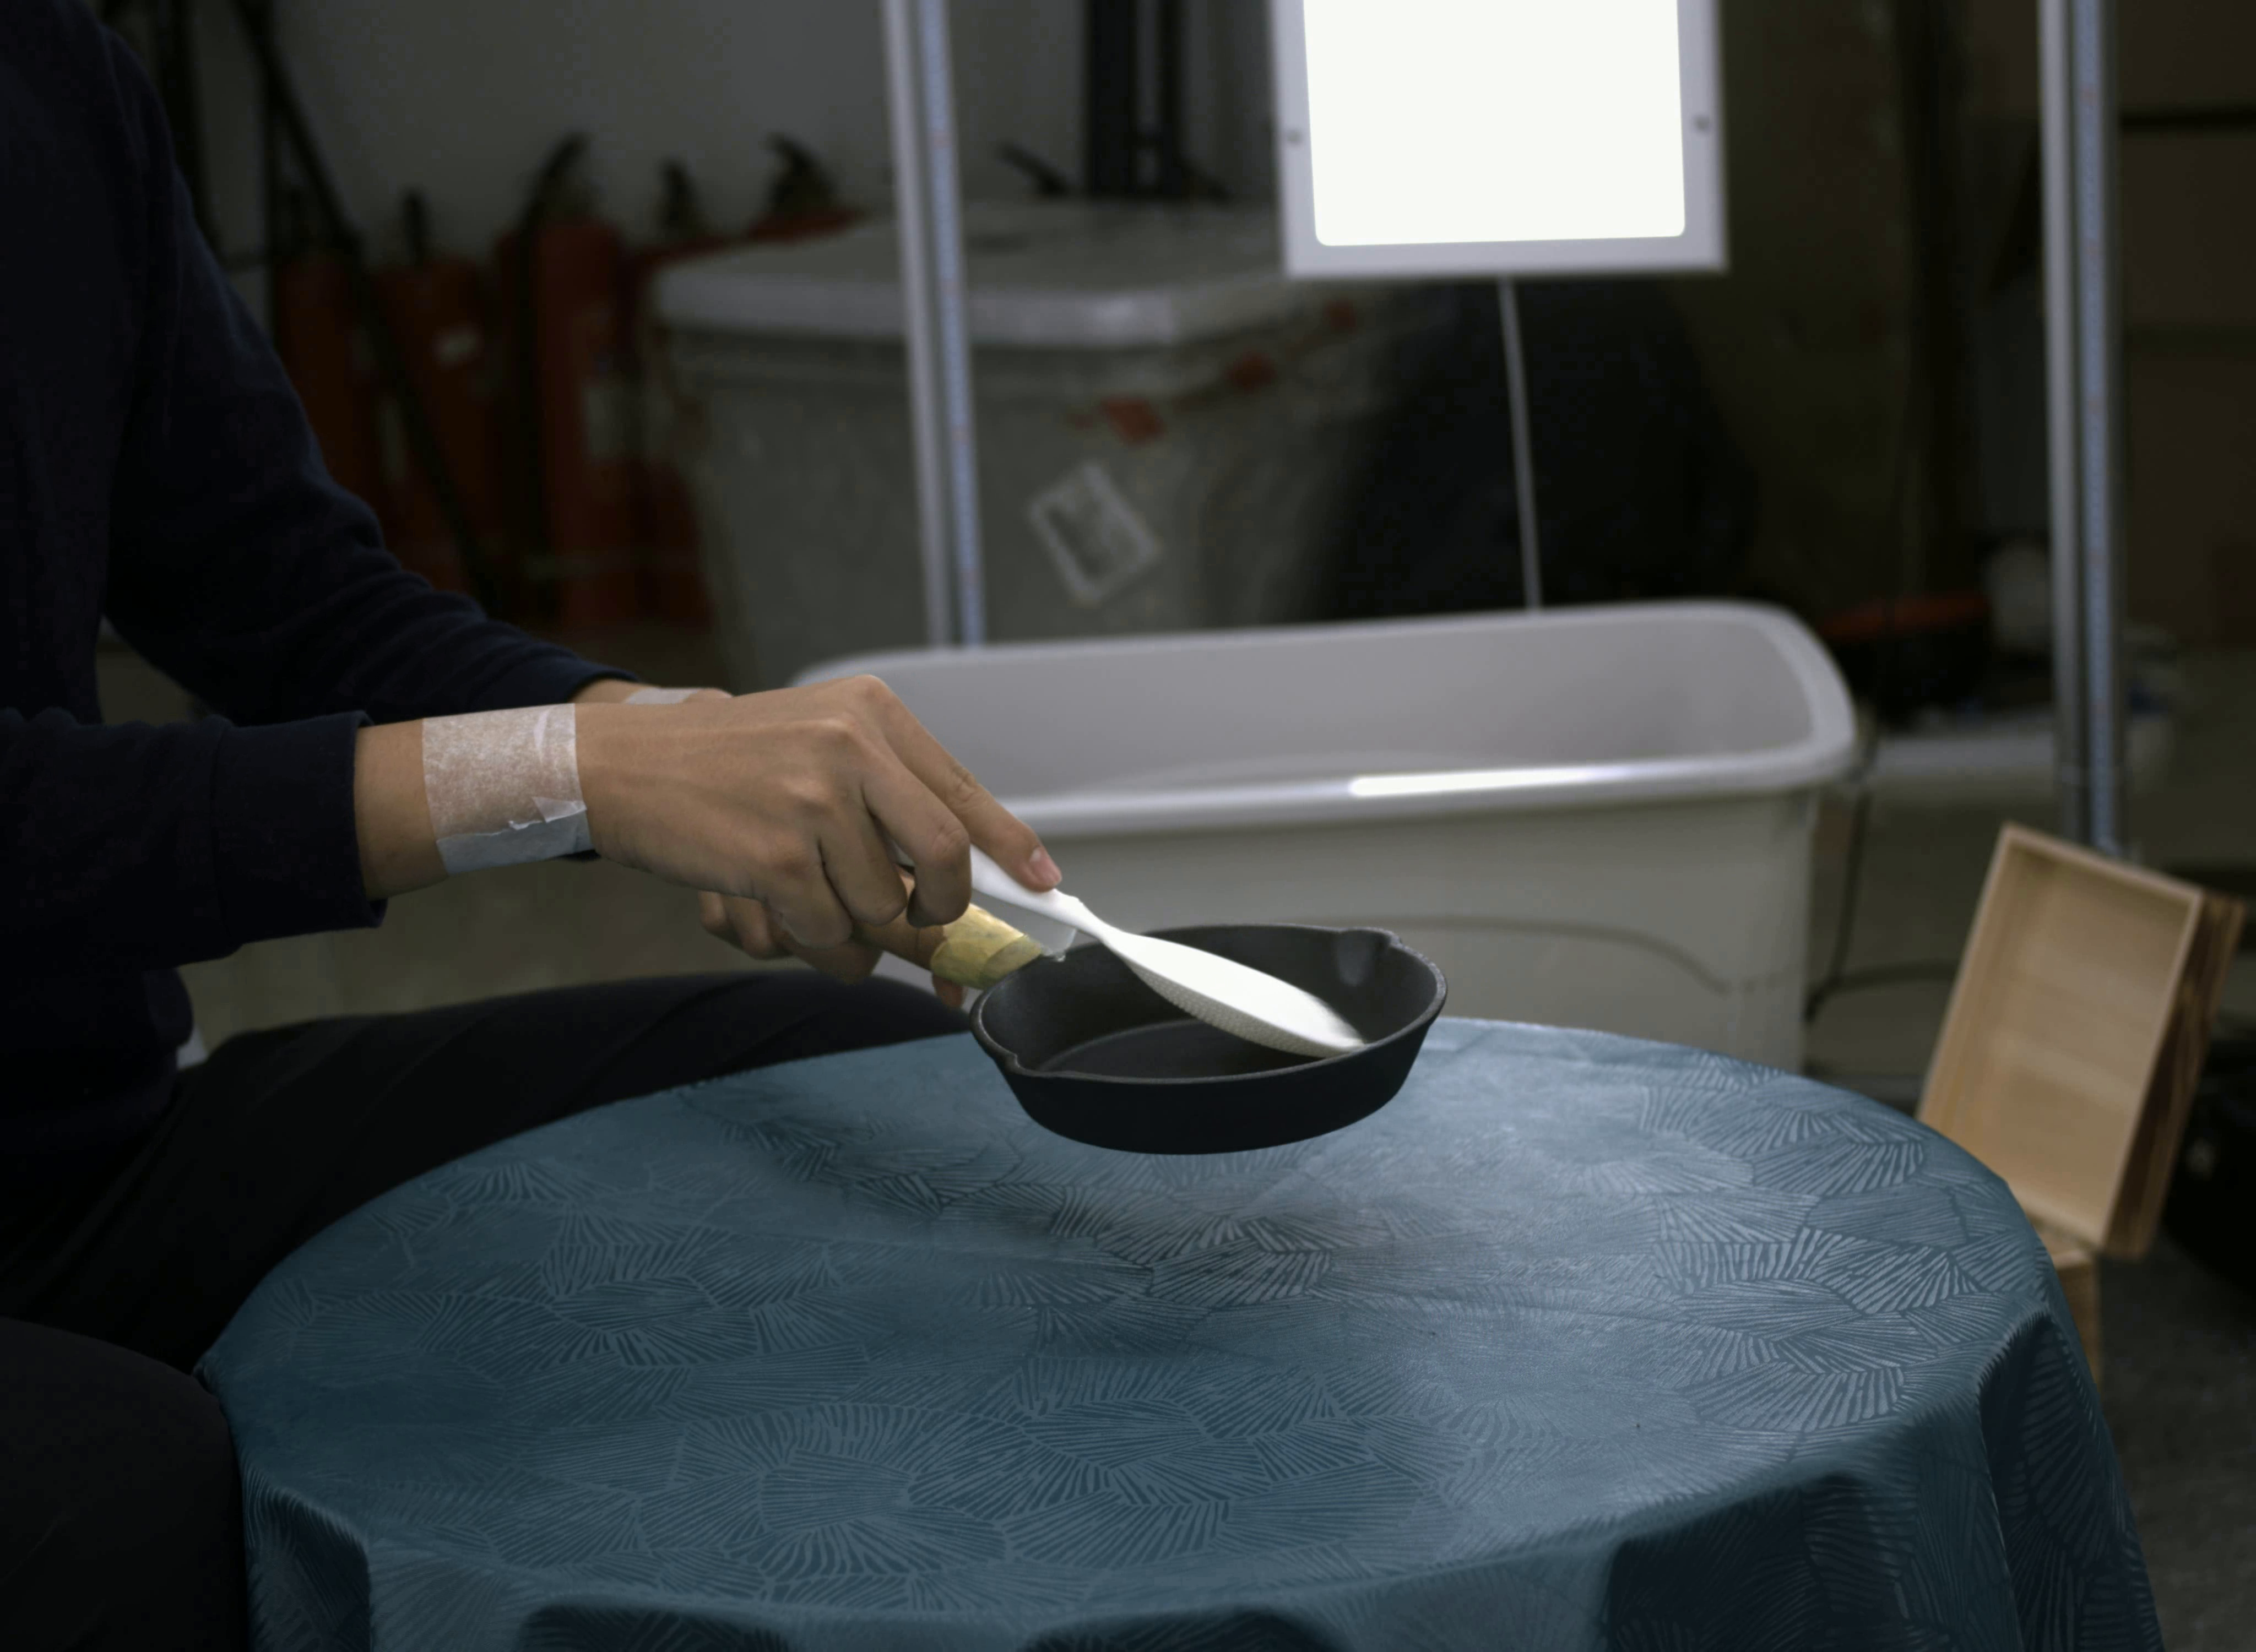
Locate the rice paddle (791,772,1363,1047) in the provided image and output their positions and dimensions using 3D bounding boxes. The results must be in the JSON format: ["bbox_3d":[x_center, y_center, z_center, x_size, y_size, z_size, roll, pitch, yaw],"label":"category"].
[{"bbox_3d":[-0.011,0.032,1.821,0.204,0.029,0.068,21,12,-2],"label":"rice paddle"}]

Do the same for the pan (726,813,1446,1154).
[{"bbox_3d":[-0.029,0.048,1.867,0.165,0.050,0.331,-18,22,-37],"label":"pan"}]
